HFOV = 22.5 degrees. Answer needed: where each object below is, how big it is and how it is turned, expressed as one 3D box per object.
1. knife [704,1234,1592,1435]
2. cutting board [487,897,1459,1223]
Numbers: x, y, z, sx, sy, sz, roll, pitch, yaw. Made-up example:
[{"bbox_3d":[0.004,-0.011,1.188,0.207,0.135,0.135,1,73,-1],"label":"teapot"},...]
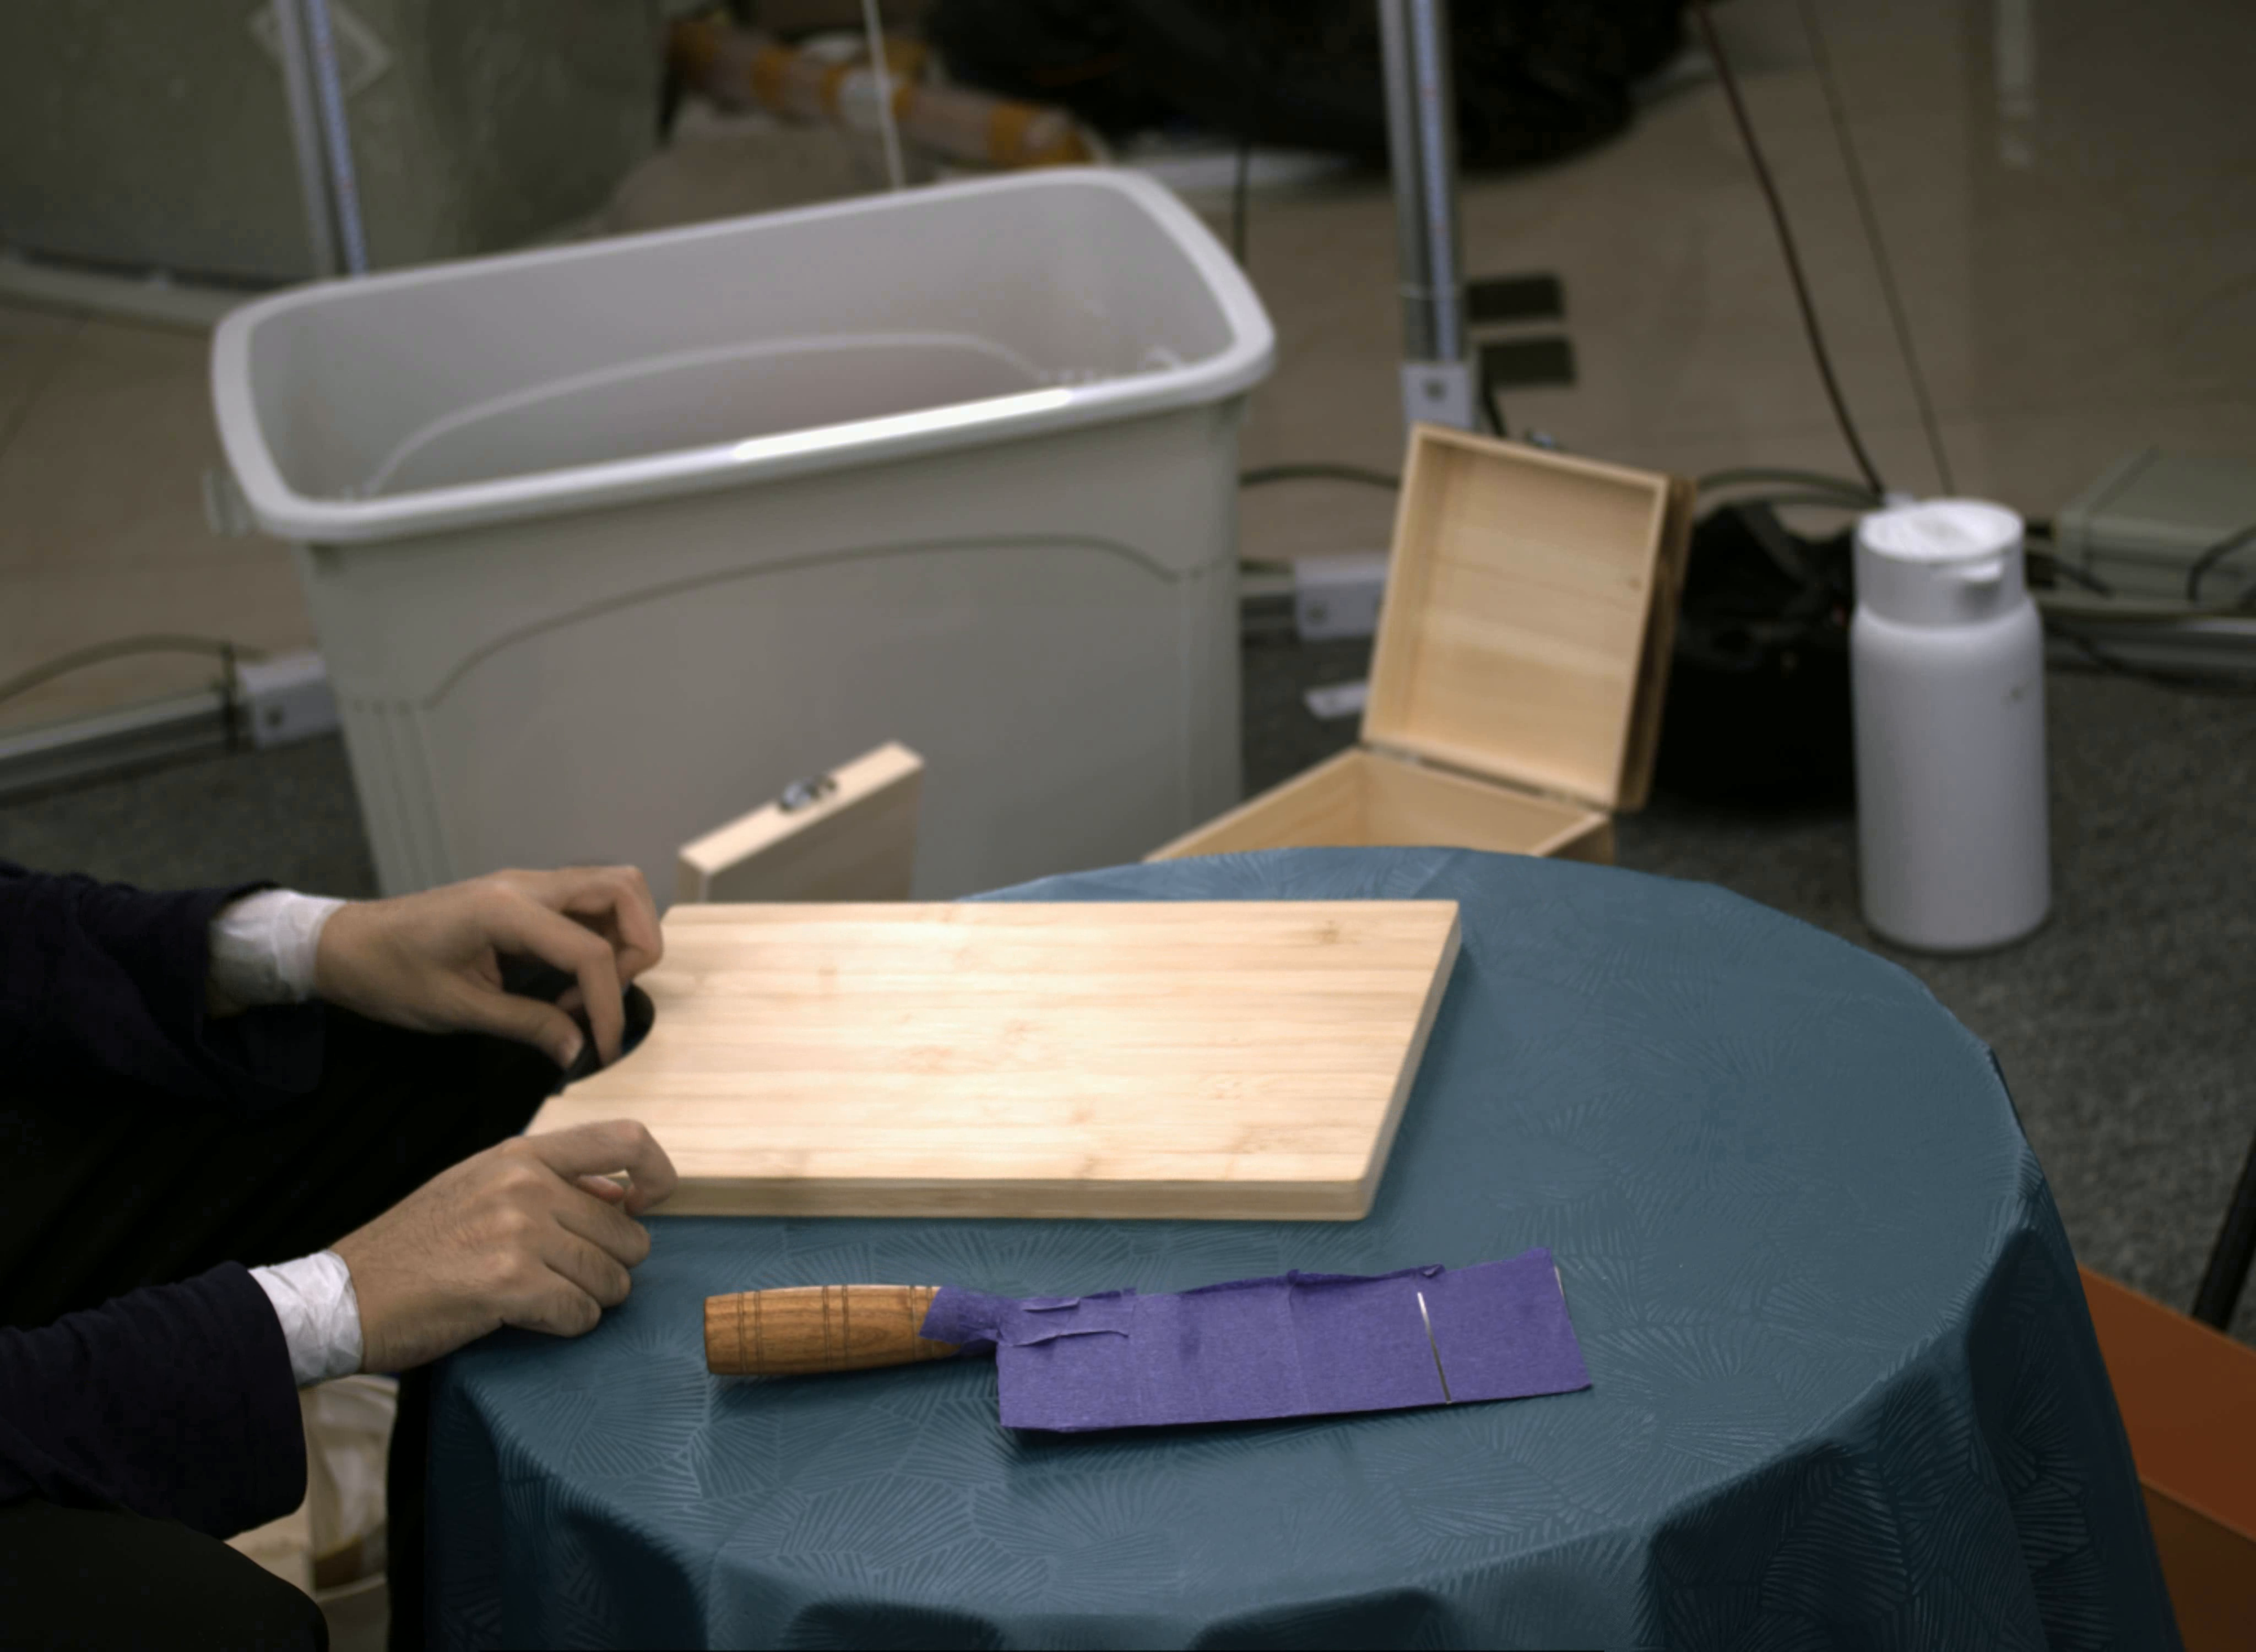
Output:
[{"bbox_3d":[0.005,0.184,2.020,0.315,0.033,0.102,-7,25,-1],"label":"knife"},{"bbox_3d":[-0.056,0.091,2.251,0.348,0.024,0.247,-1,25,12],"label":"cutting board"}]
